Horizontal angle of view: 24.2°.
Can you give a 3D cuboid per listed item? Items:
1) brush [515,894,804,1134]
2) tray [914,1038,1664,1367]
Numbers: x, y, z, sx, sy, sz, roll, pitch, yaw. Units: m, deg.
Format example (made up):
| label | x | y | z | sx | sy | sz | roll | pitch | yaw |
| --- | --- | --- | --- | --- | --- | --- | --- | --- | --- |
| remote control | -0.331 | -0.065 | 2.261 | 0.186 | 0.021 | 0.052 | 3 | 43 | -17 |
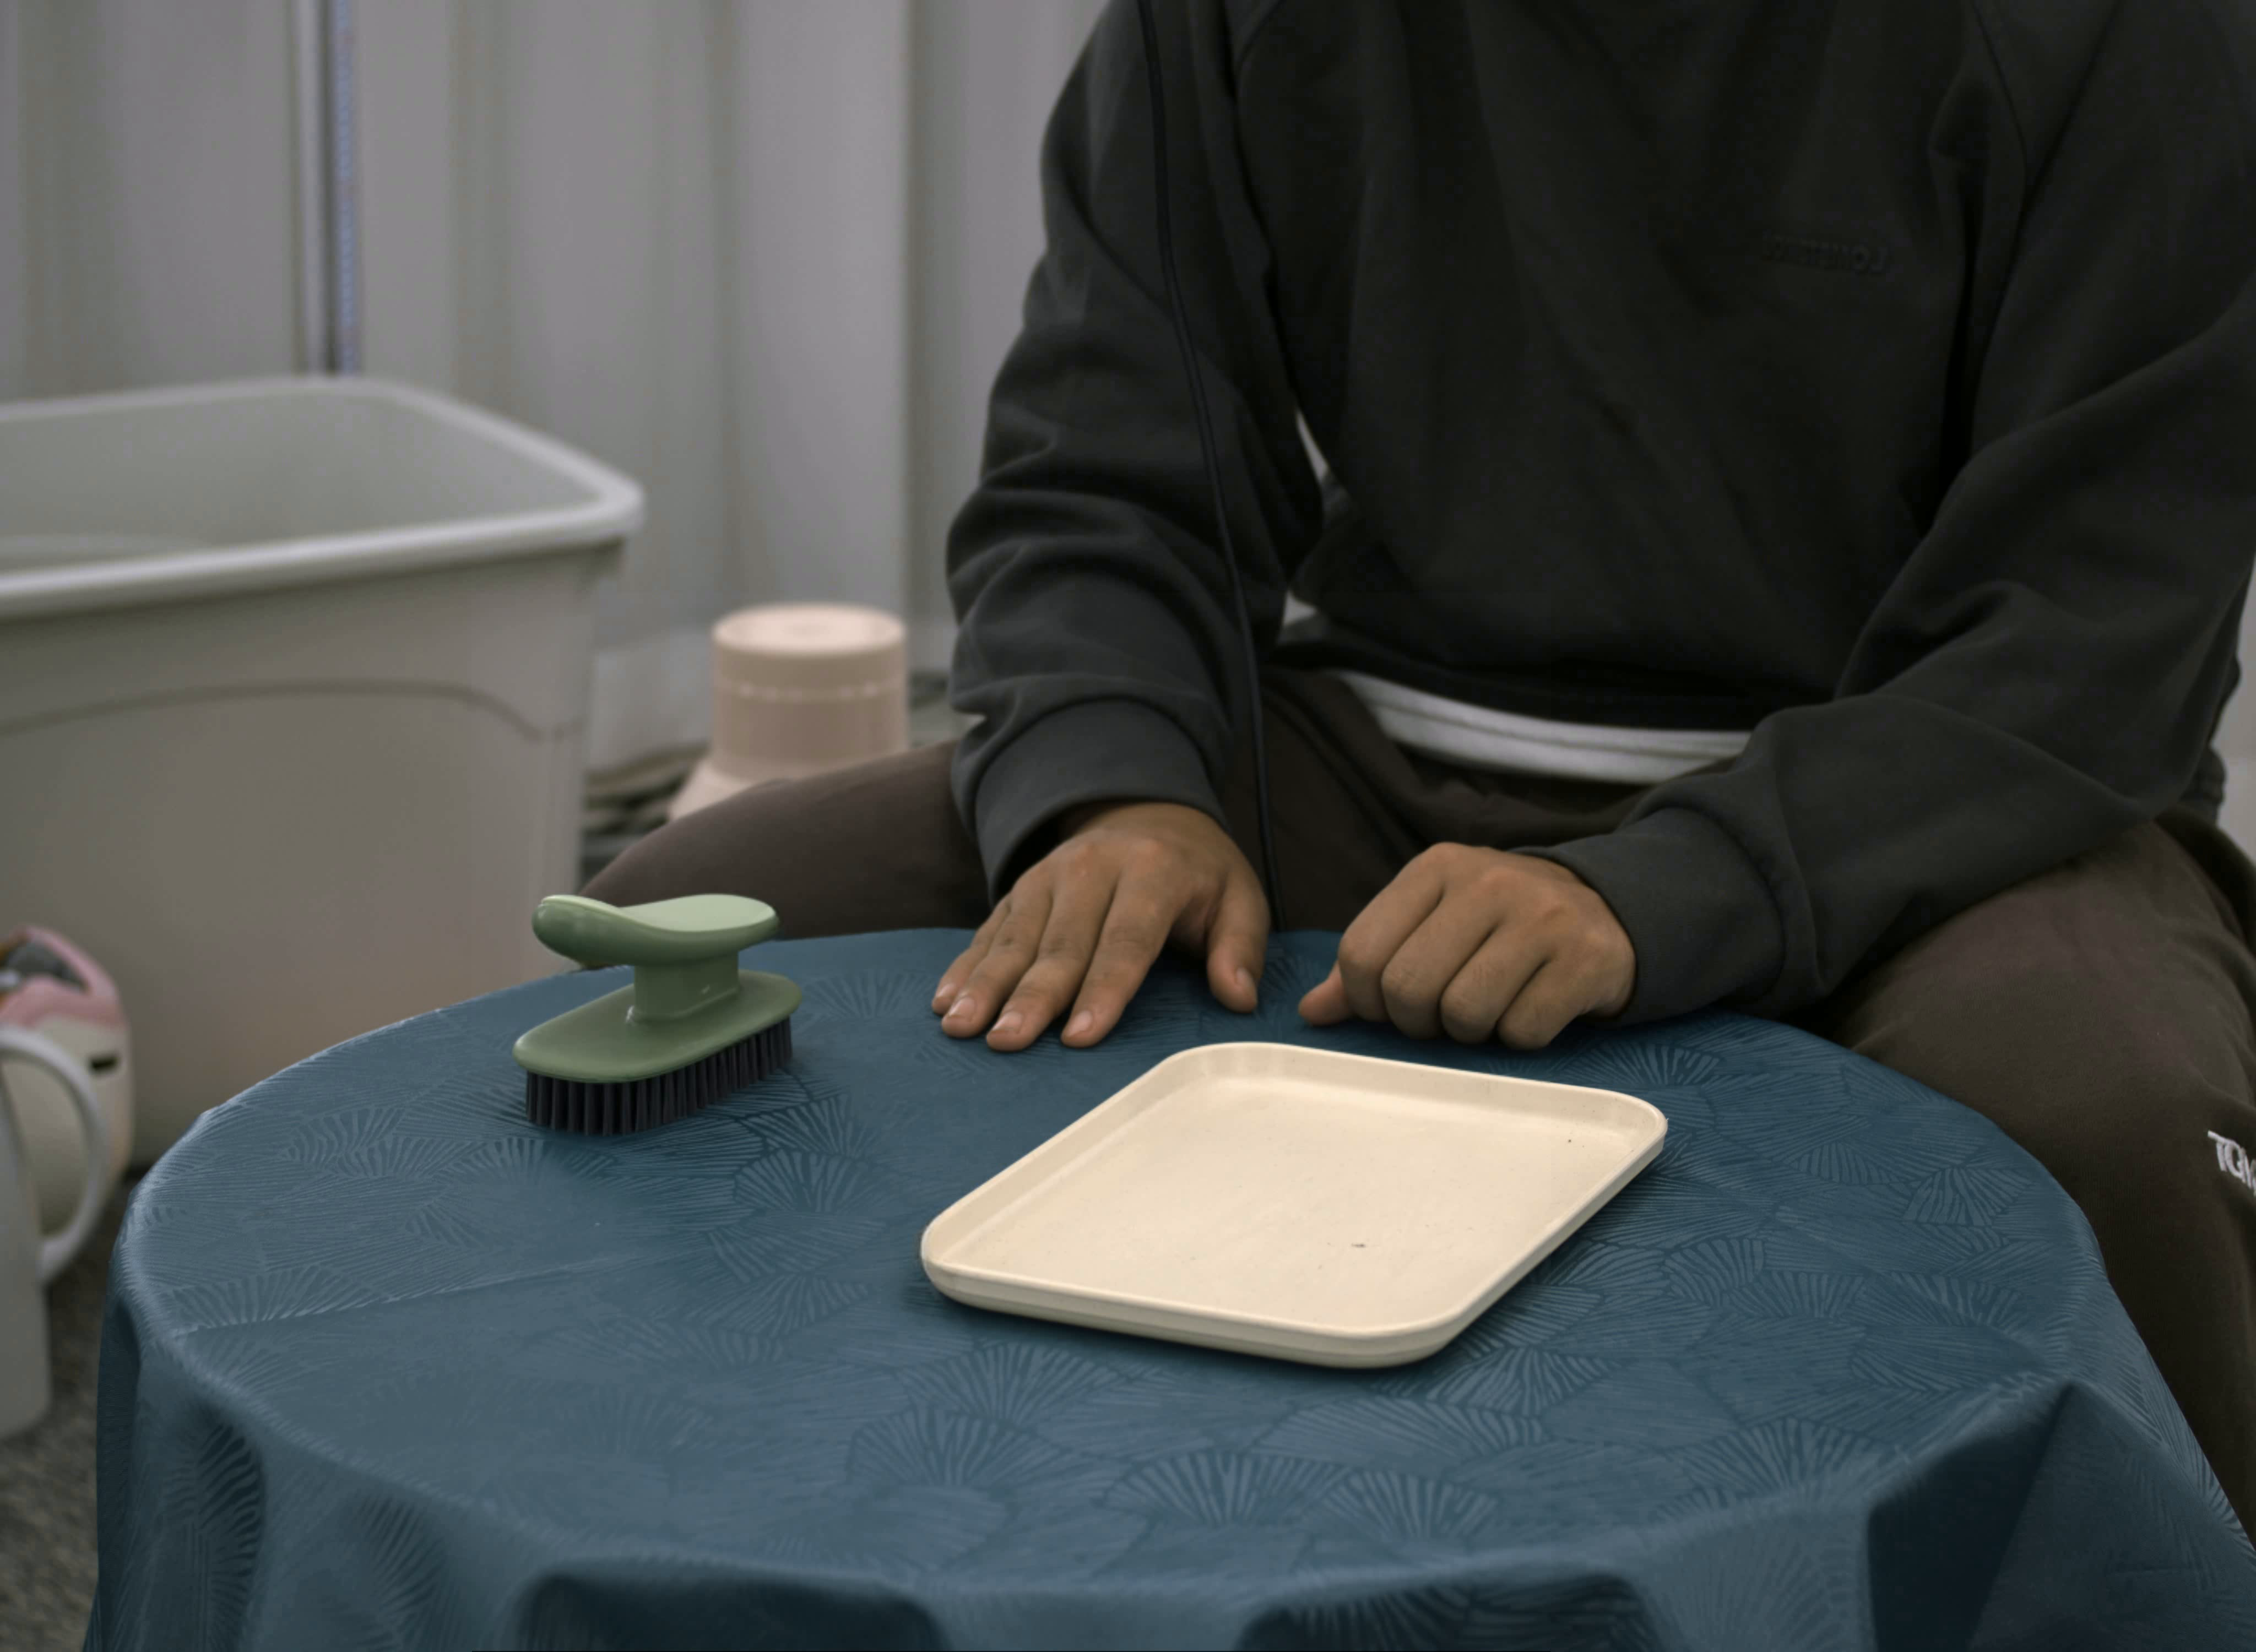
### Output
| label | x | y | z | sx | sy | sz | roll | pitch | yaw |
| --- | --- | --- | --- | --- | --- | --- | --- | --- | --- |
| brush | -0.152 | 0.060 | 1.710 | 0.059 | 0.076 | 0.124 | 10 | 4 | 27 |
| tray | 0.053 | 0.112 | 1.595 | 0.169 | 0.017 | 0.240 | 8 | 17 | 23 |
